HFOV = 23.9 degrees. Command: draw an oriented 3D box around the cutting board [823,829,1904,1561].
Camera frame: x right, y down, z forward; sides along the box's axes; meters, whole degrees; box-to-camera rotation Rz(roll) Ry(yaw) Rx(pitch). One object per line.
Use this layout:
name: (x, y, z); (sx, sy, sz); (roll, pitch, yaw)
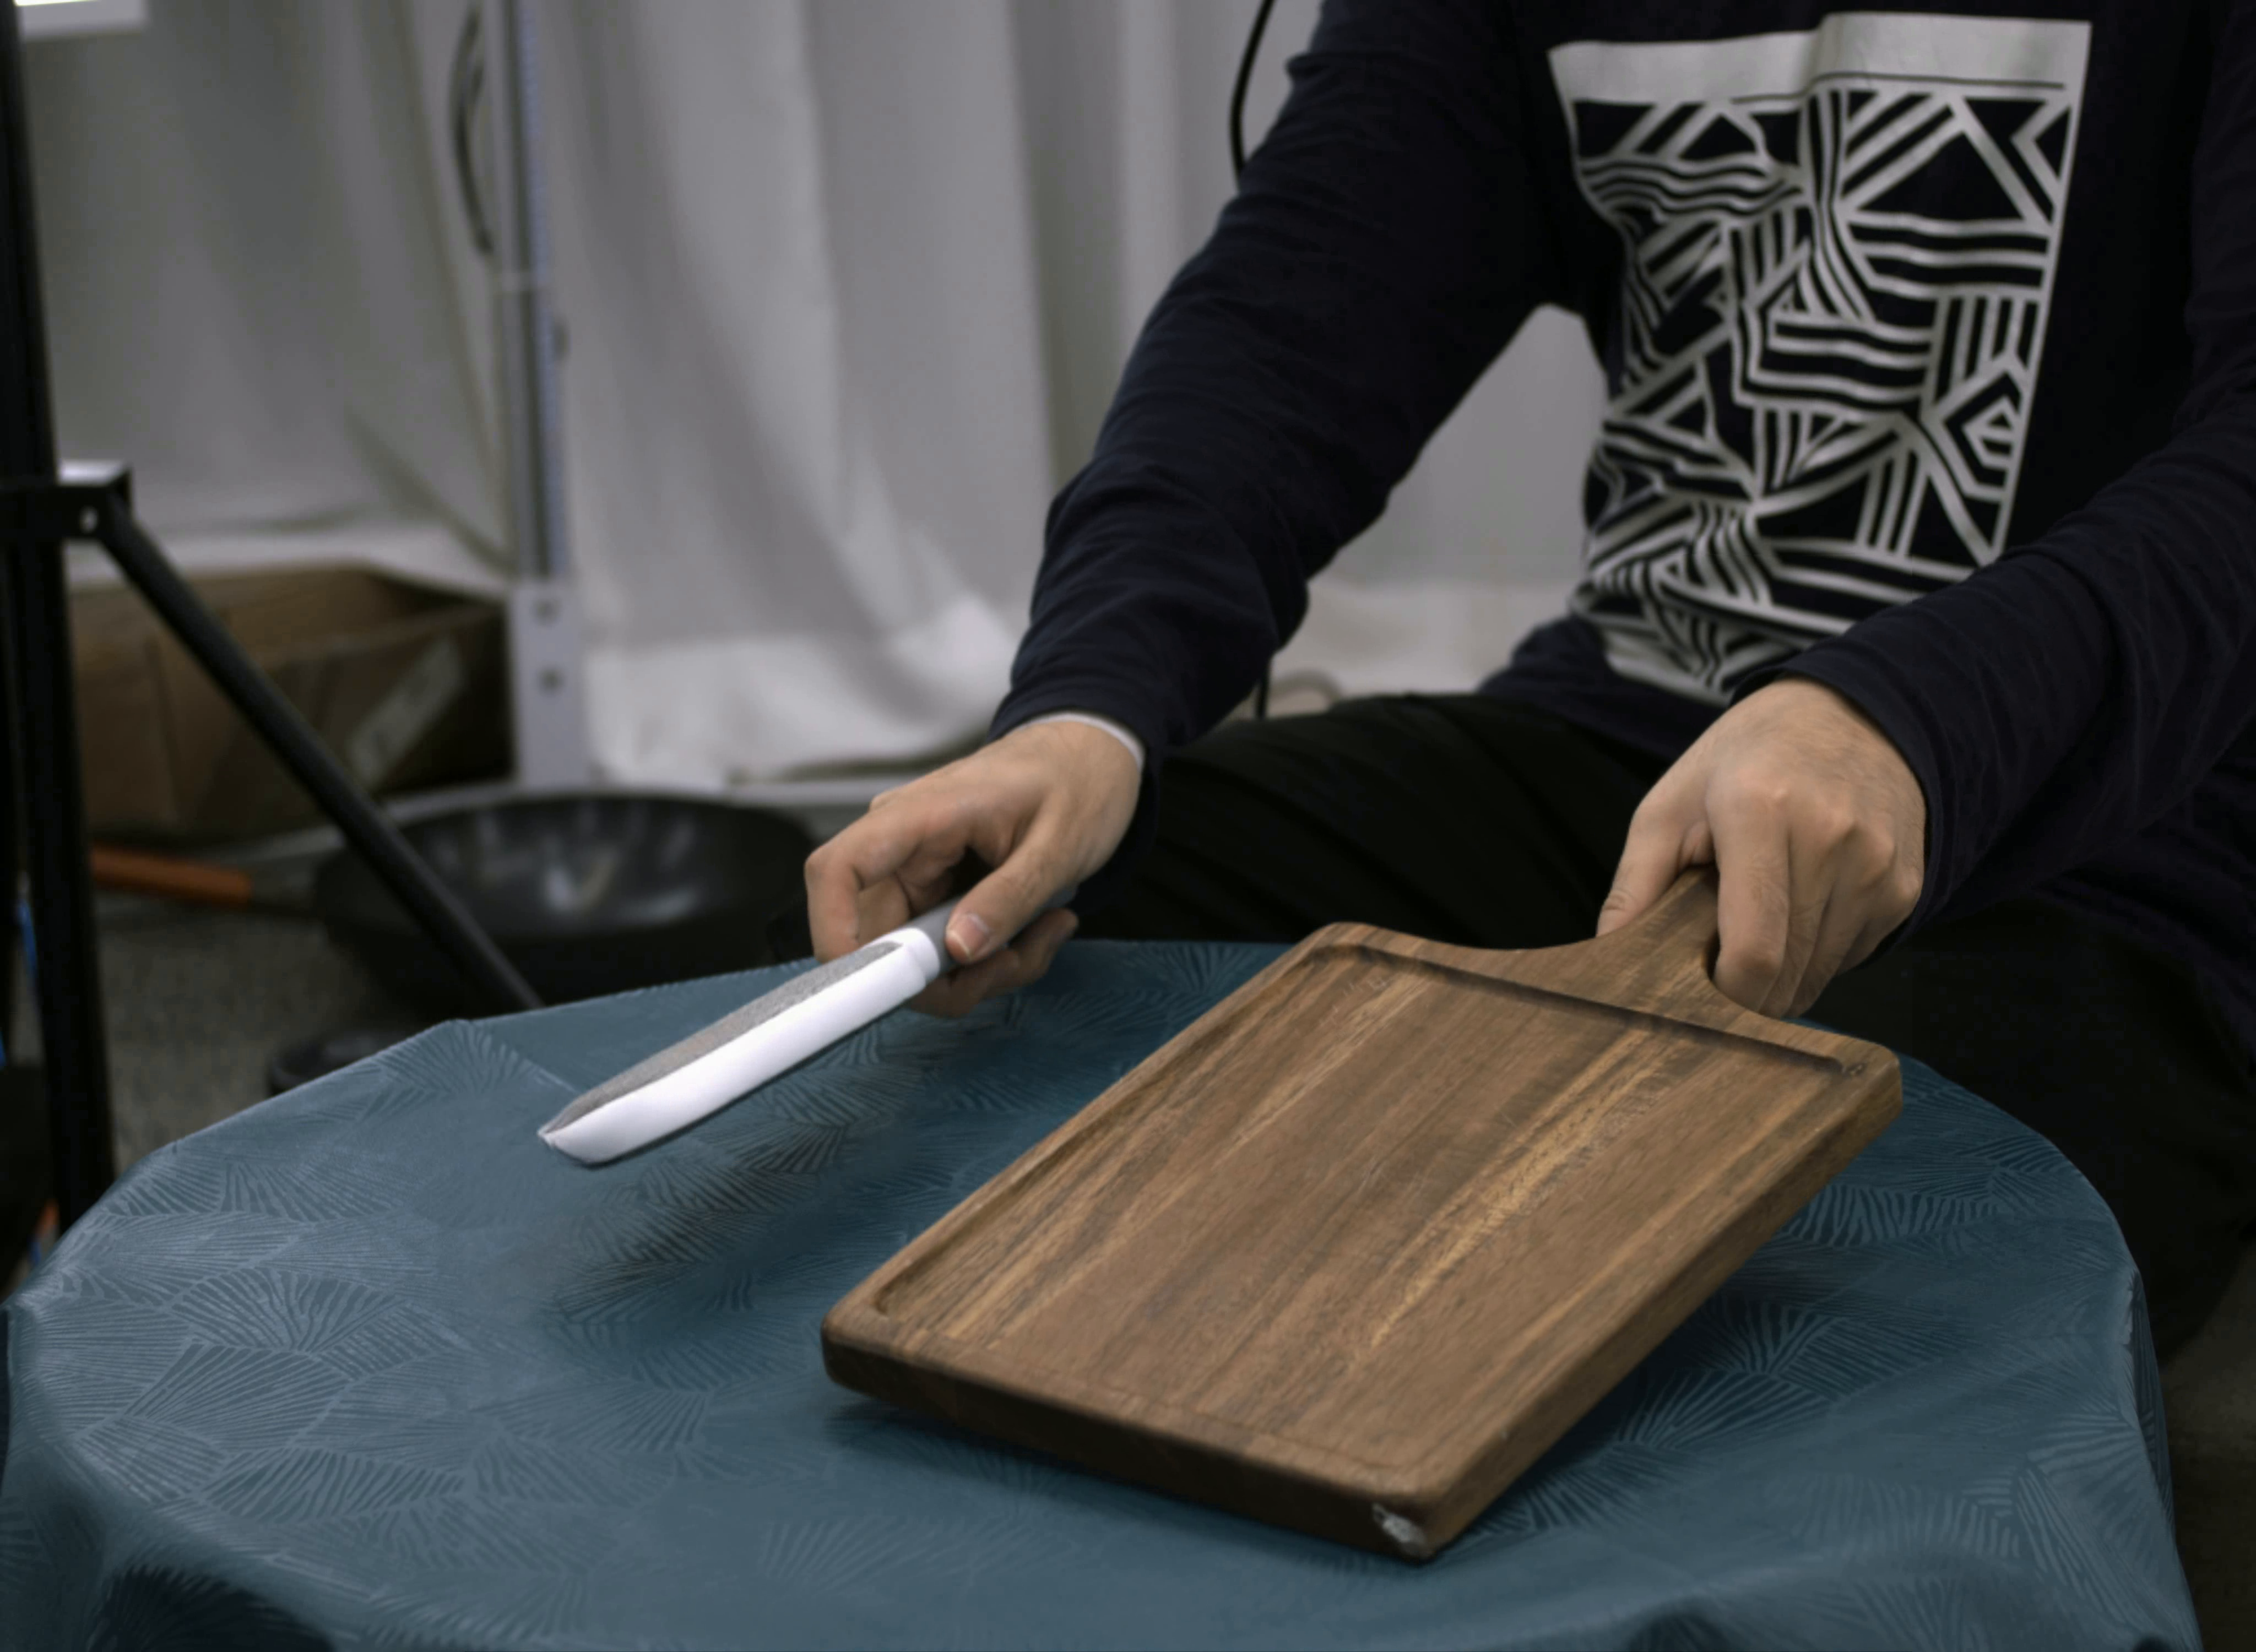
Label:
cutting board: (0.095, 0.085, 1.461); (0.205, 0.023, 0.346); (11, 32, 36)

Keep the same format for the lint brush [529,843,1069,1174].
lint brush: (-0.089, 0.050, 1.612); (0.061, 0.021, 0.304); (-27, 2, 29)
